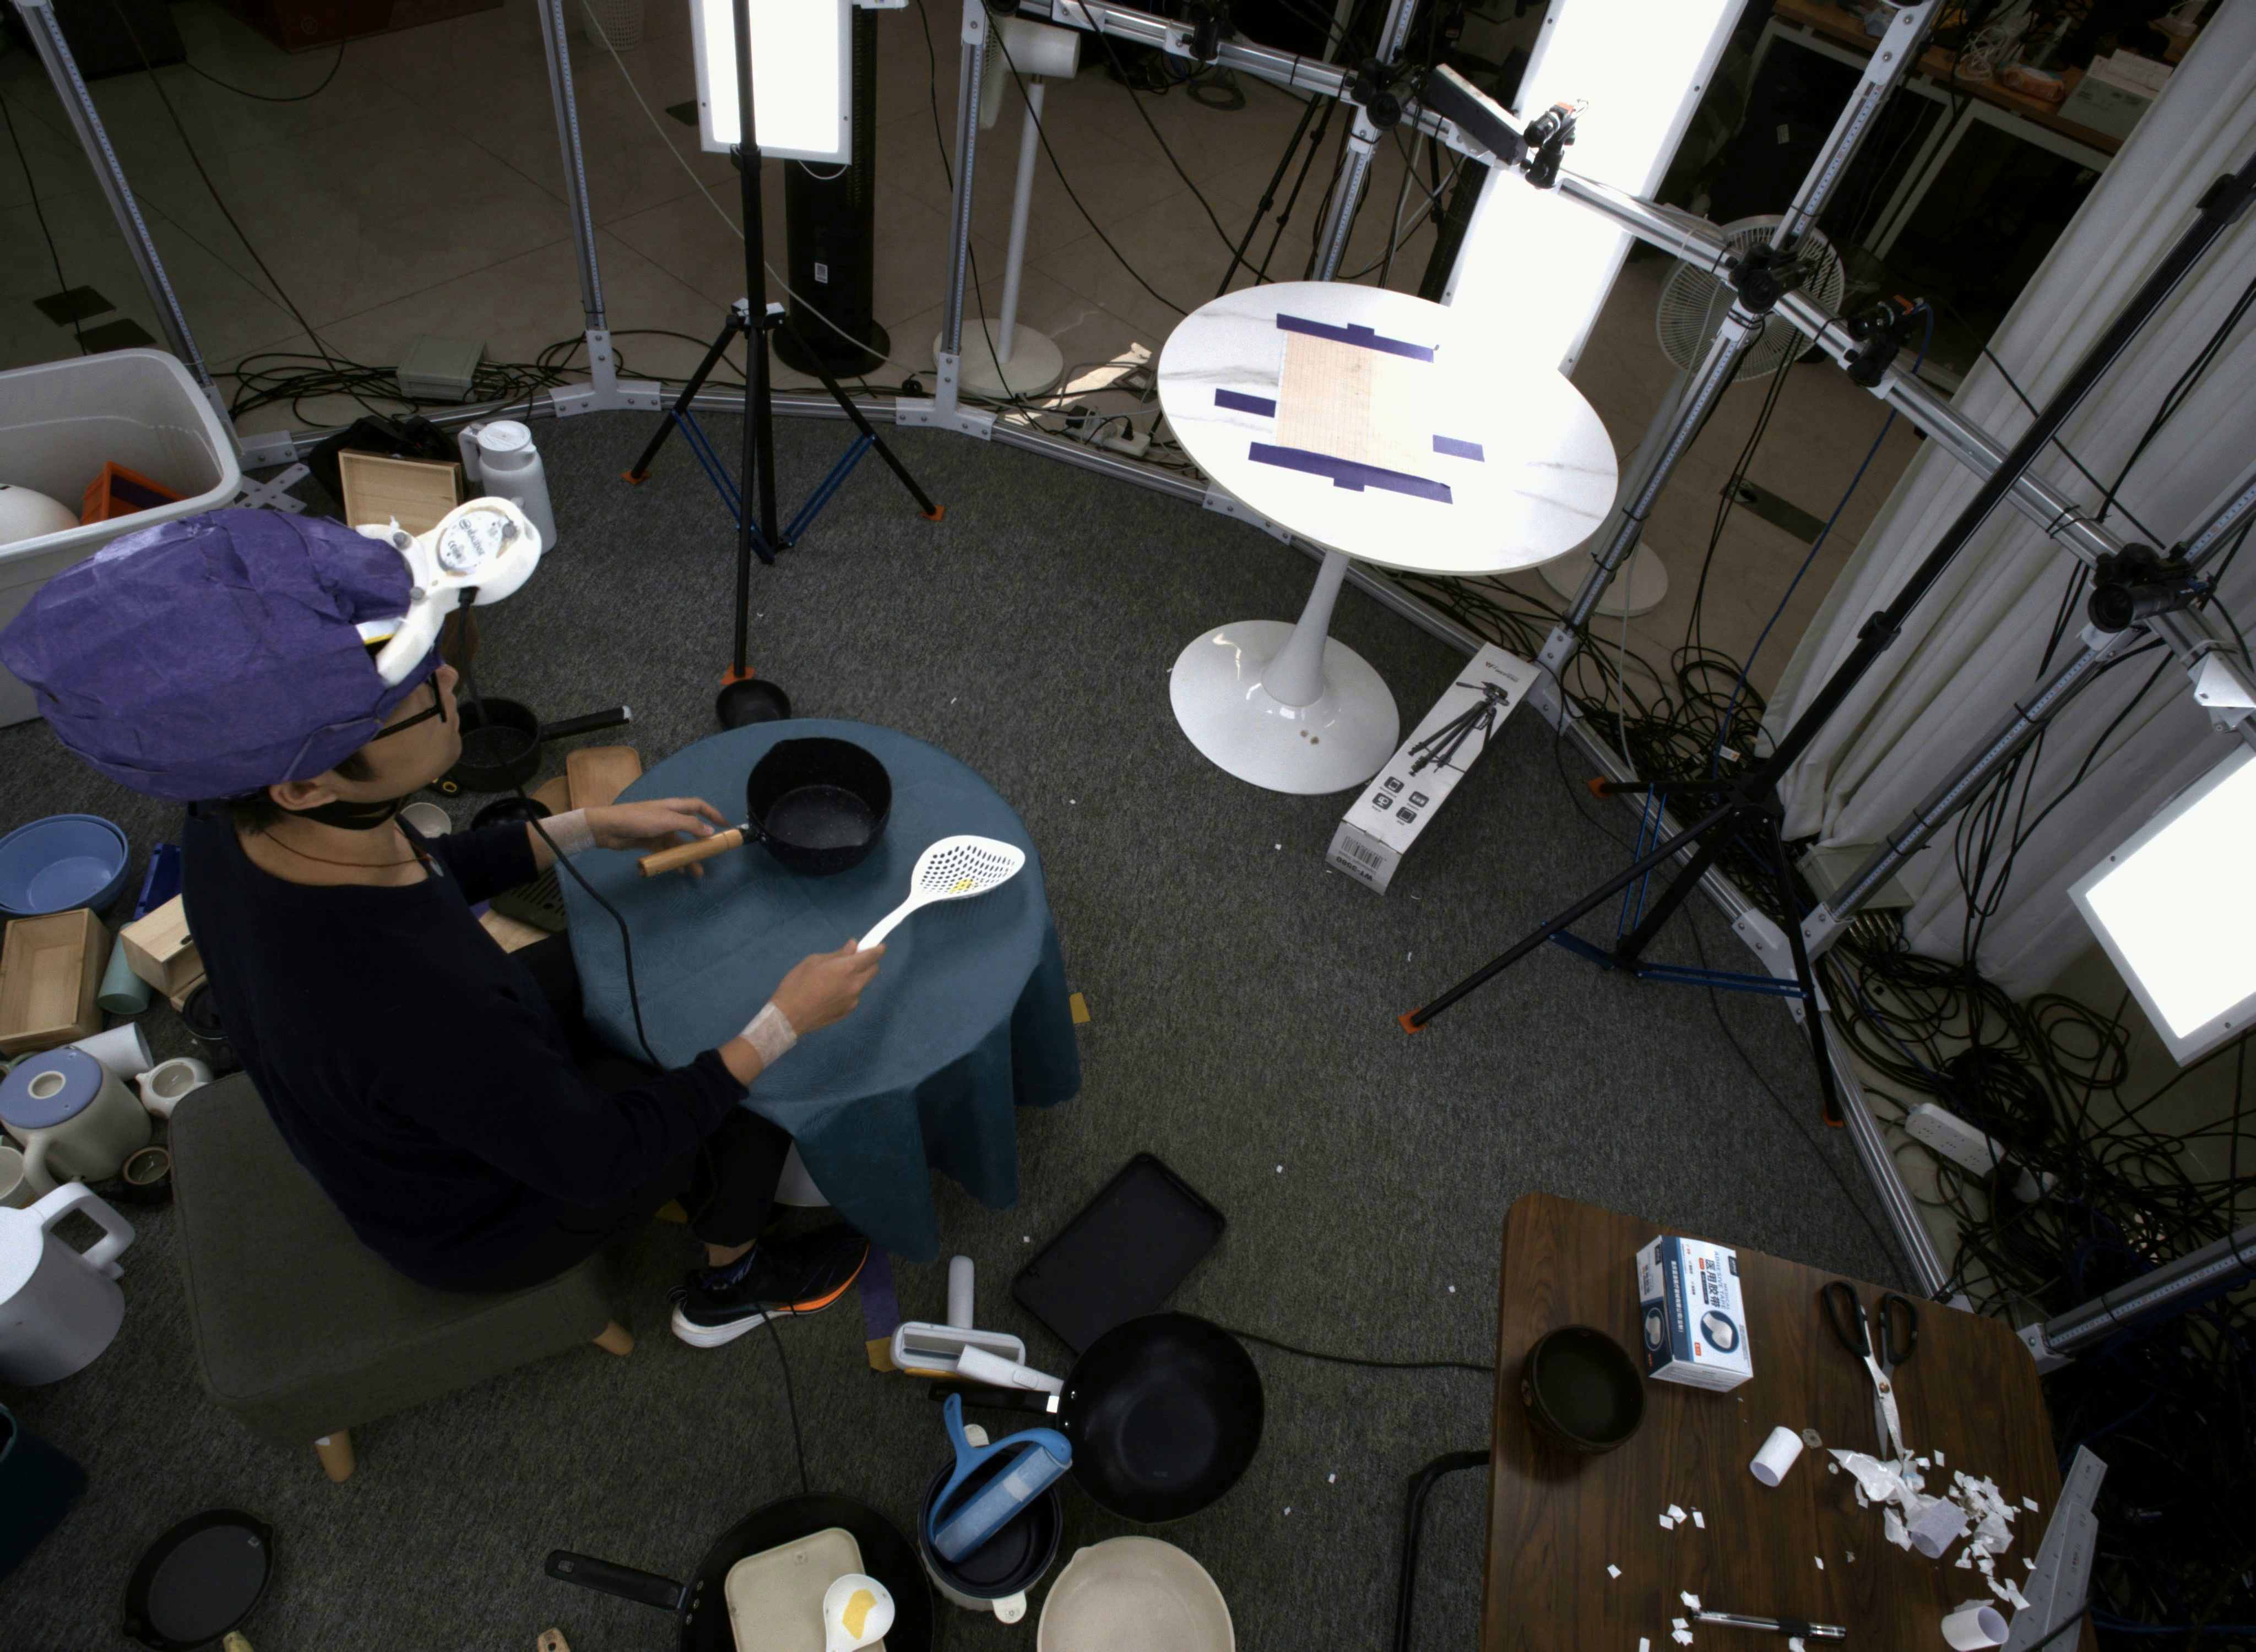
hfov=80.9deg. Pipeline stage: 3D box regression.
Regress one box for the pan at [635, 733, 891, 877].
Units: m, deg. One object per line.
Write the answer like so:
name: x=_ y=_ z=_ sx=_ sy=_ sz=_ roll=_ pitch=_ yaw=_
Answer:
pan: x=-0.458 y=0.006 z=1.630 sx=0.344 sy=0.110 sz=0.203 roll=-31 pitch=67 yaw=-33

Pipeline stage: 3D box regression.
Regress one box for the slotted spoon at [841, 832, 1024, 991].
slotted spoon: x=-0.253 y=0.098 z=1.607 sx=0.133 sy=0.052 sz=0.348 roll=14 pitch=27 yaw=22
